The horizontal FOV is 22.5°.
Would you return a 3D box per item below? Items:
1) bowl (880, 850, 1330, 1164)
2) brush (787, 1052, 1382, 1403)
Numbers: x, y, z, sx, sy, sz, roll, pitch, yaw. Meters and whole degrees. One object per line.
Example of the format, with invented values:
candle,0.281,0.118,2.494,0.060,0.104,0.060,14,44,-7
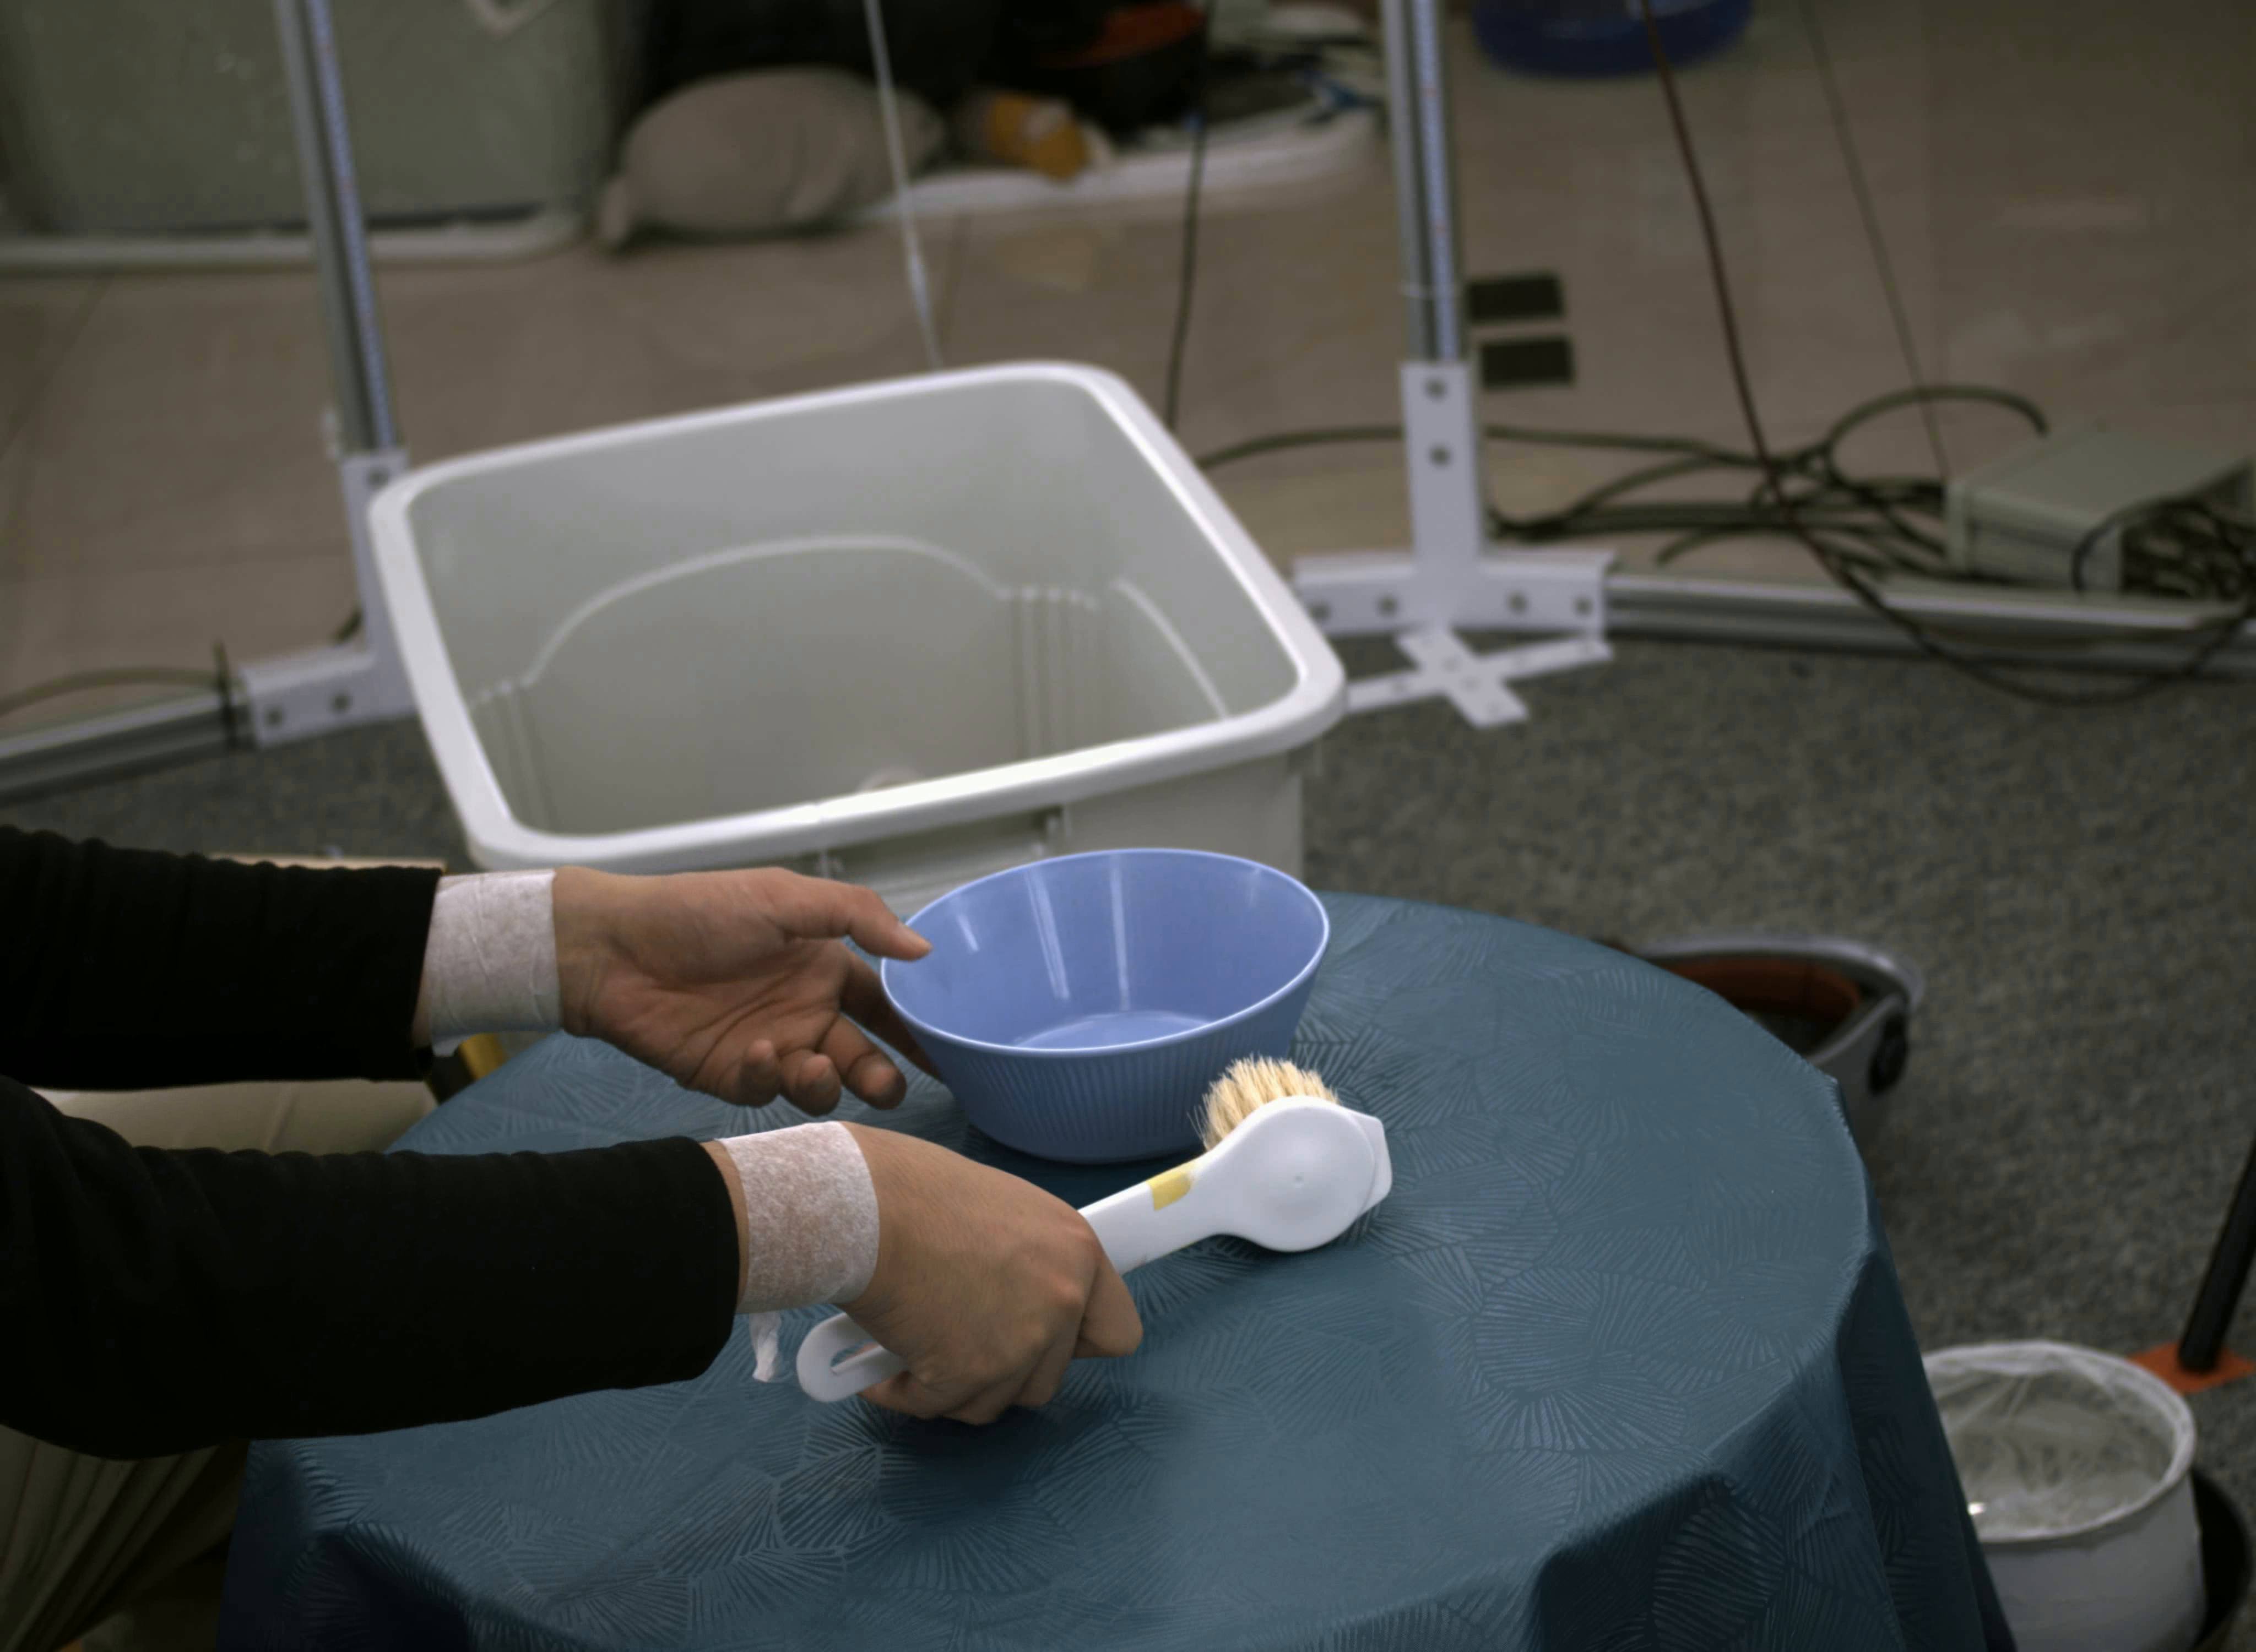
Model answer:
bowl,-0.005,0.076,2.199,0.176,0.071,0.173,-6,25,3
brush,-0.023,0.147,2.043,0.265,0.069,0.056,-20,16,-31
